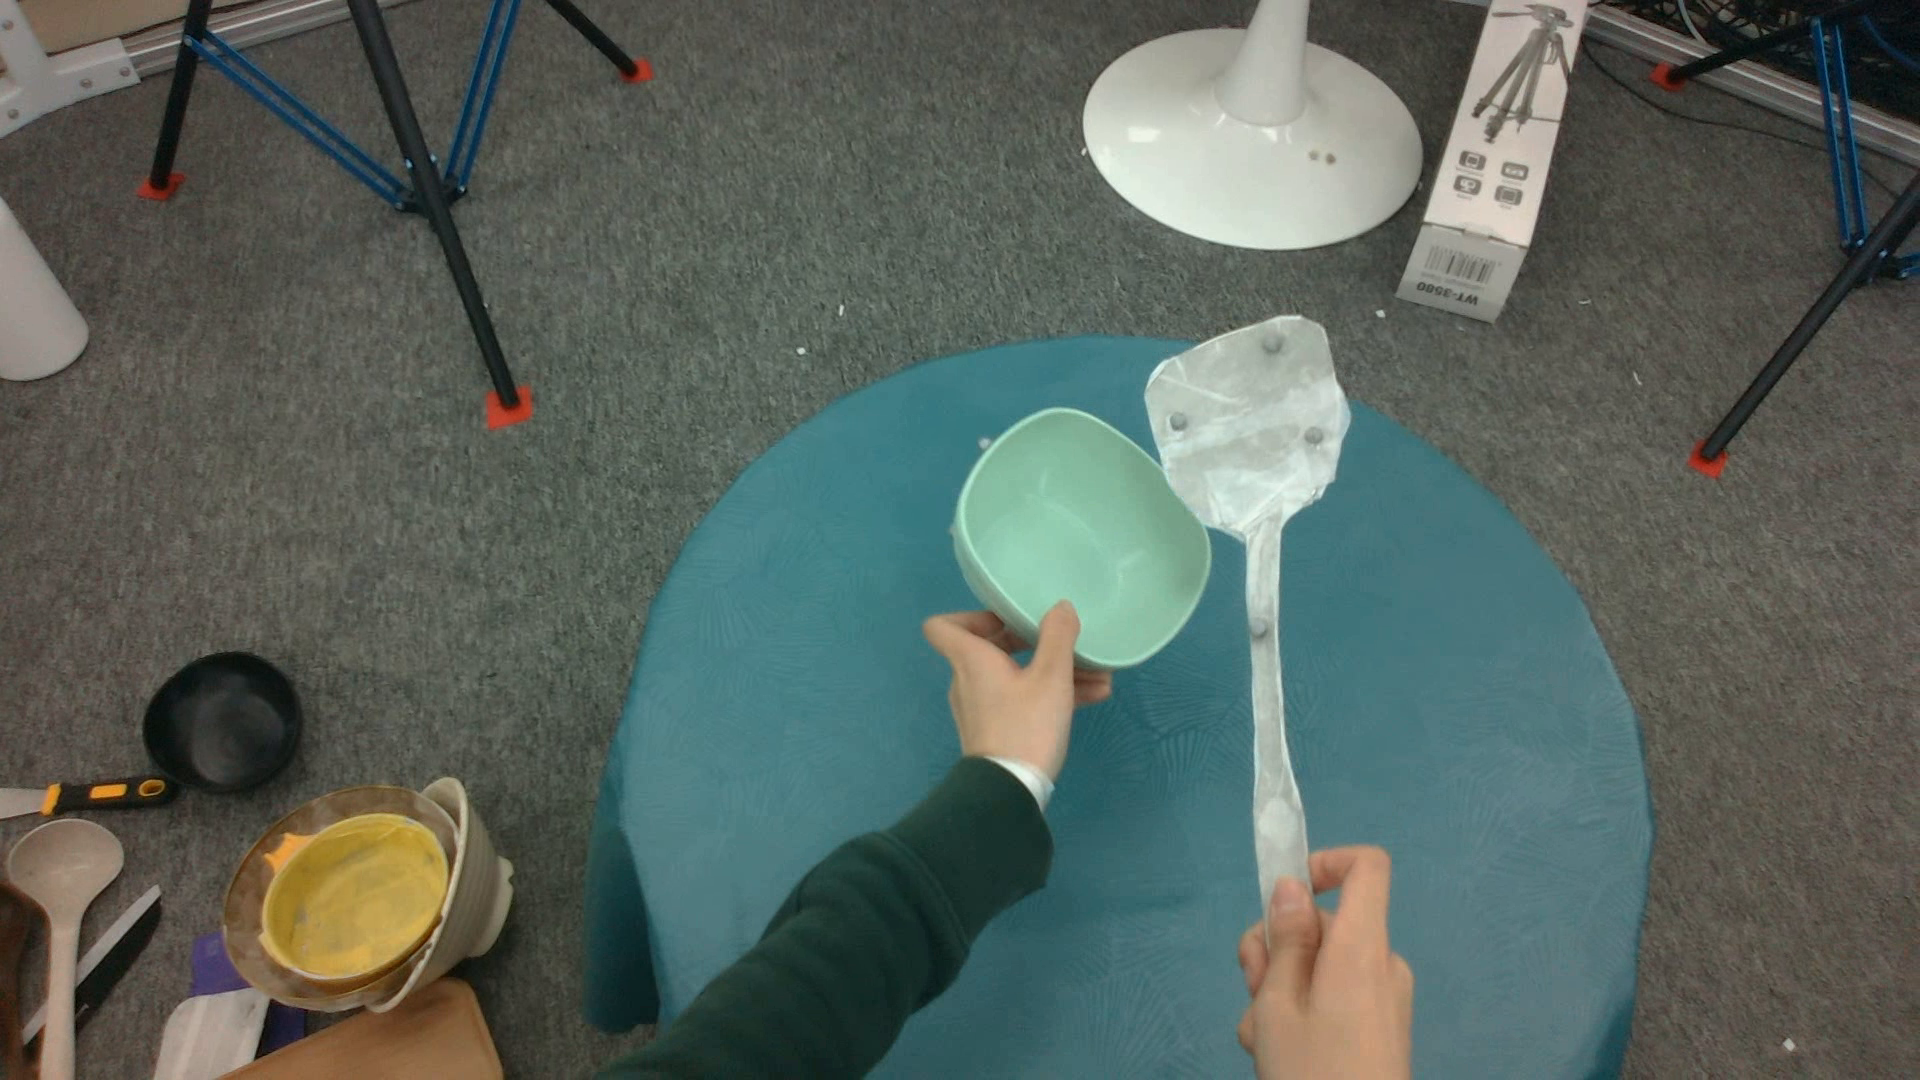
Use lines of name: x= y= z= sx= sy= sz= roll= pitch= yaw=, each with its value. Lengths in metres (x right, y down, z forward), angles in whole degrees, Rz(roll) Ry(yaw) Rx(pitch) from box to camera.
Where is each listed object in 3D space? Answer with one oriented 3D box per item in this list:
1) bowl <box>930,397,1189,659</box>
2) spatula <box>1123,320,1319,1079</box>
bowl: x=0.045 y=0.002 z=0.738 sx=0.151 sy=0.058 sz=0.152 roll=13 pitch=57 yaw=-21
spatula: x=0.125 y=0.059 z=0.612 sx=0.098 sy=0.045 sz=0.366 roll=-15 pitch=54 yaw=27
